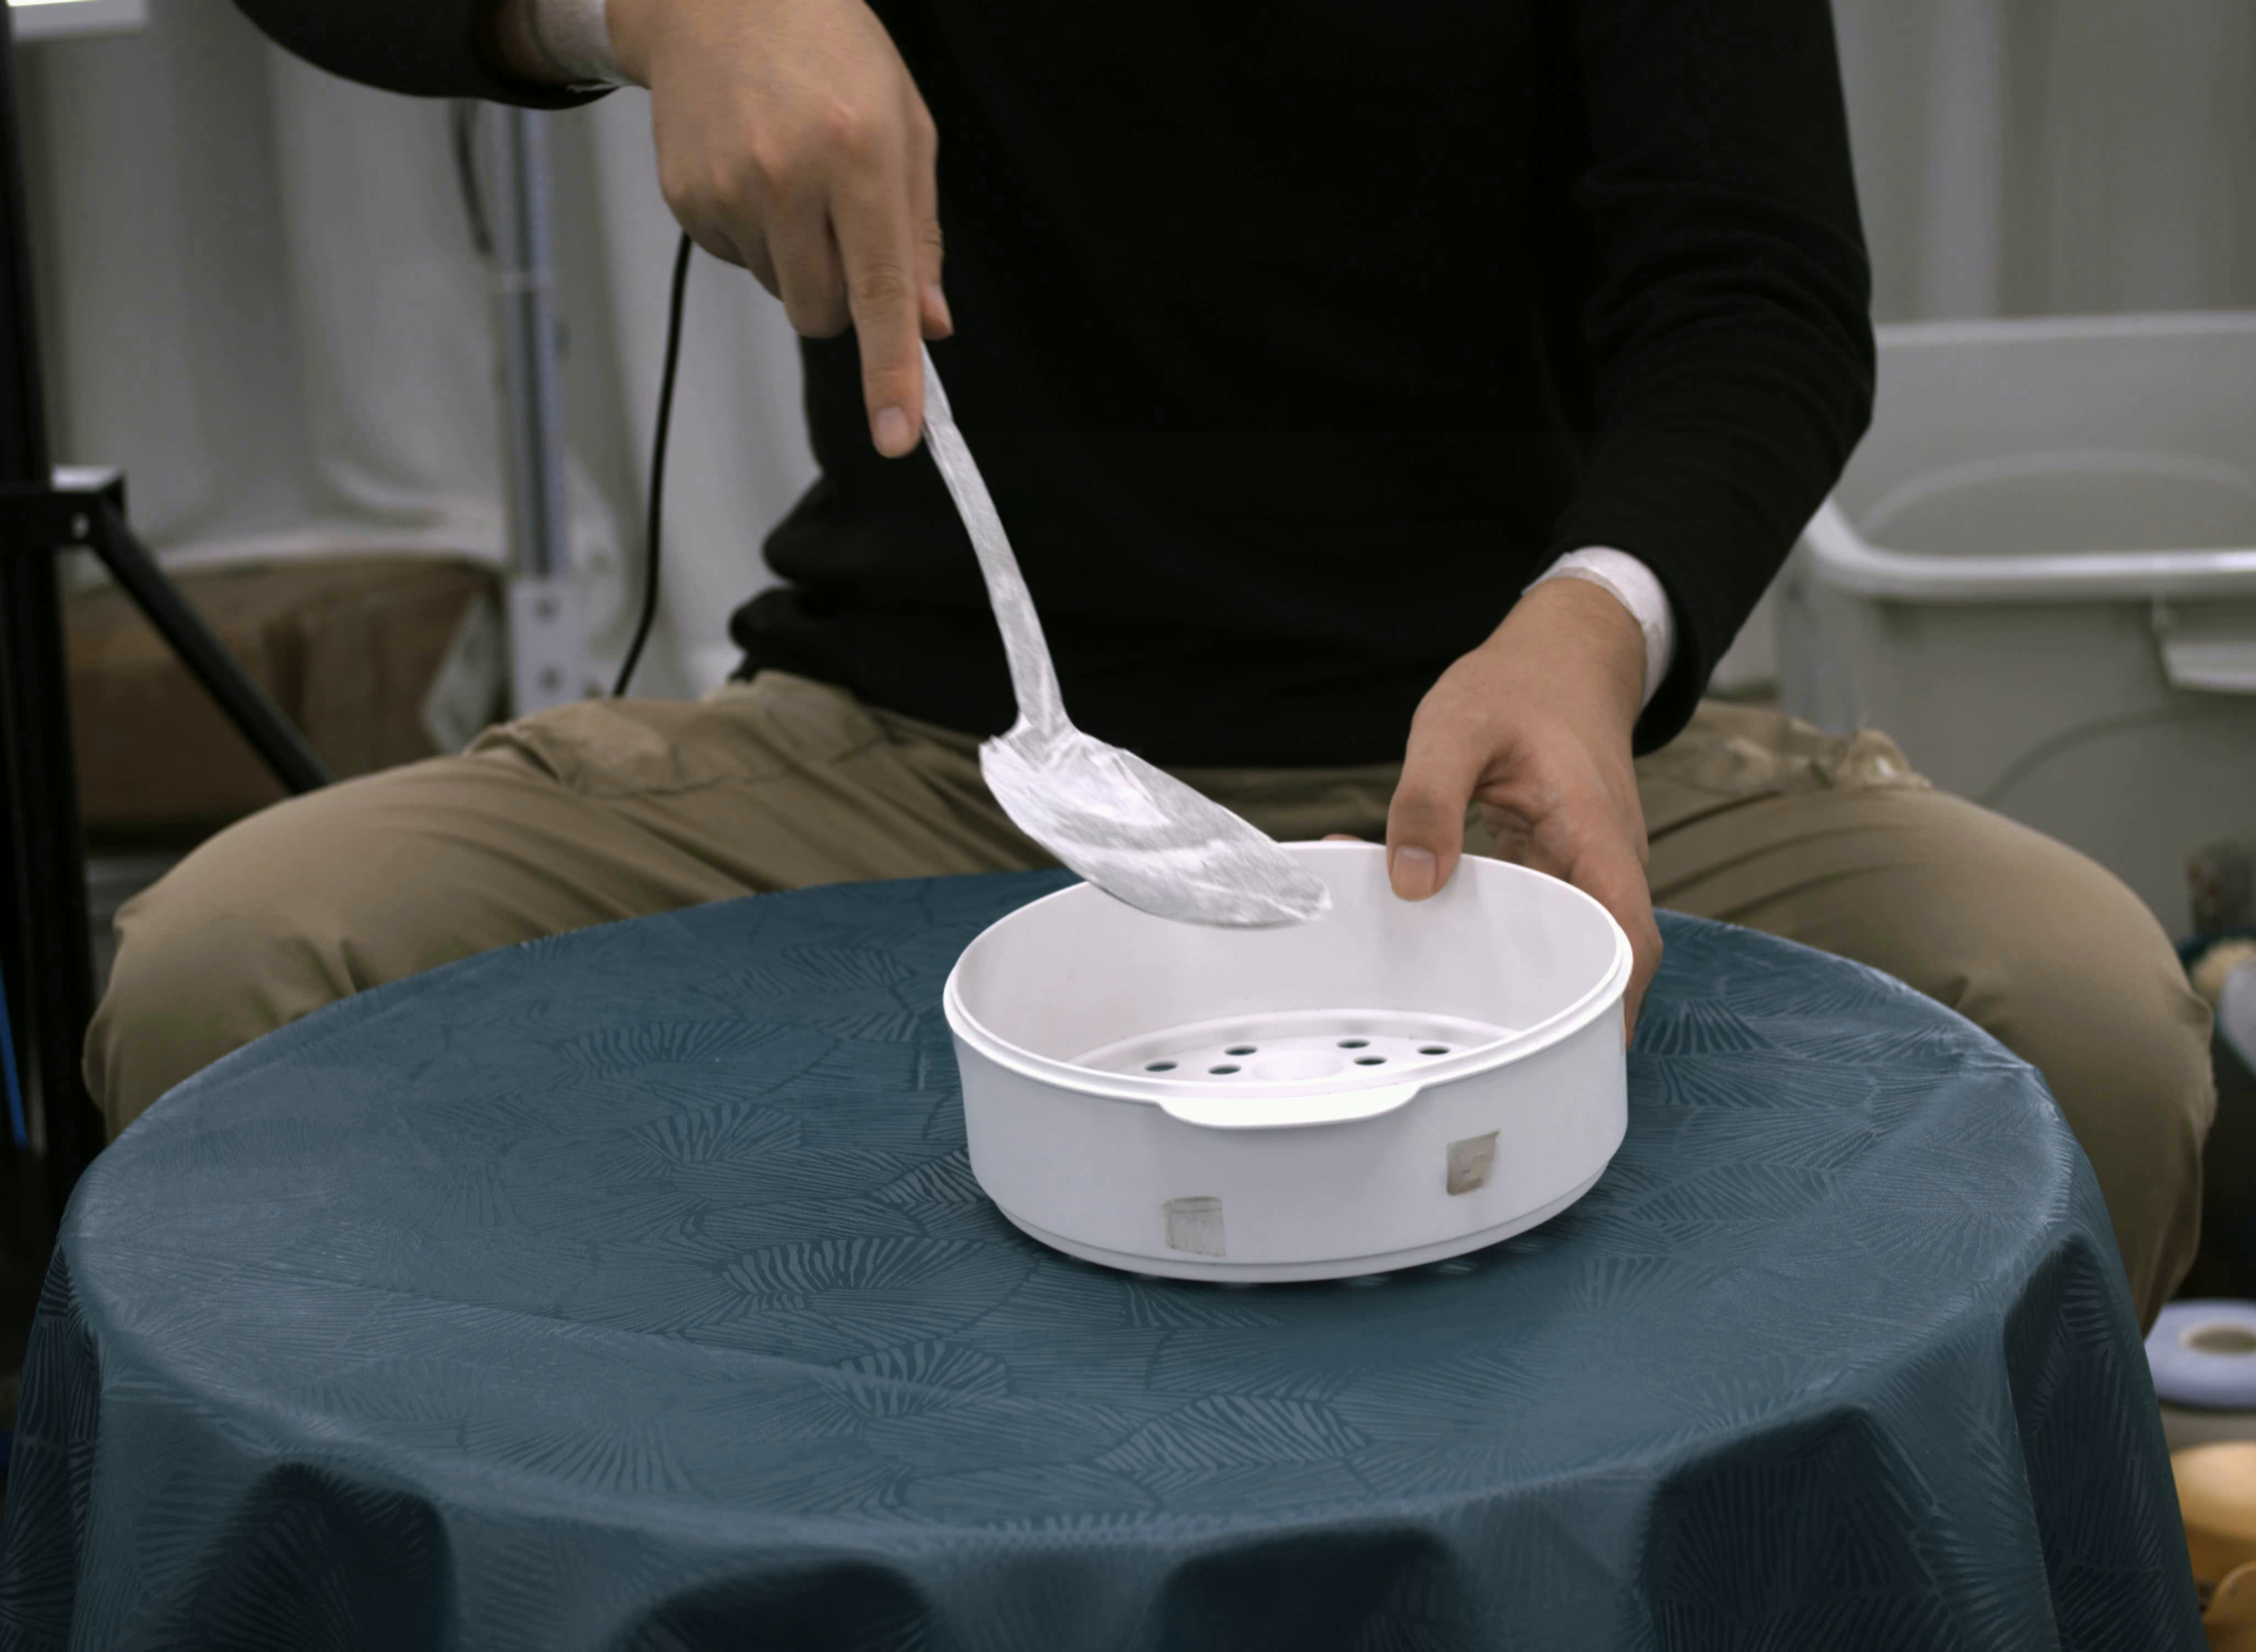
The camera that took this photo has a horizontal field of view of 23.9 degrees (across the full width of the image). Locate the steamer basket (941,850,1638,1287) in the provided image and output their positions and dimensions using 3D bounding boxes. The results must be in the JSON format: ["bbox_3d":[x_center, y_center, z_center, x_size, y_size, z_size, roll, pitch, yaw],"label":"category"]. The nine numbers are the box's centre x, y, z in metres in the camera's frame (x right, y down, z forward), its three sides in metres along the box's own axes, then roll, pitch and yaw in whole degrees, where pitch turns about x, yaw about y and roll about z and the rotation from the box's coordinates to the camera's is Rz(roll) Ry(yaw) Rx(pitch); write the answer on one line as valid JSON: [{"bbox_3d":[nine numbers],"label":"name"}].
[{"bbox_3d":[0.048,0.070,1.542,0.201,0.069,0.231,-2,18,4],"label":"steamer basket"}]

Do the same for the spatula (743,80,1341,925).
[{"bbox_3d":[-0.045,-0.106,1.595,0.096,0.045,0.371,3,50,-38],"label":"spatula"}]
